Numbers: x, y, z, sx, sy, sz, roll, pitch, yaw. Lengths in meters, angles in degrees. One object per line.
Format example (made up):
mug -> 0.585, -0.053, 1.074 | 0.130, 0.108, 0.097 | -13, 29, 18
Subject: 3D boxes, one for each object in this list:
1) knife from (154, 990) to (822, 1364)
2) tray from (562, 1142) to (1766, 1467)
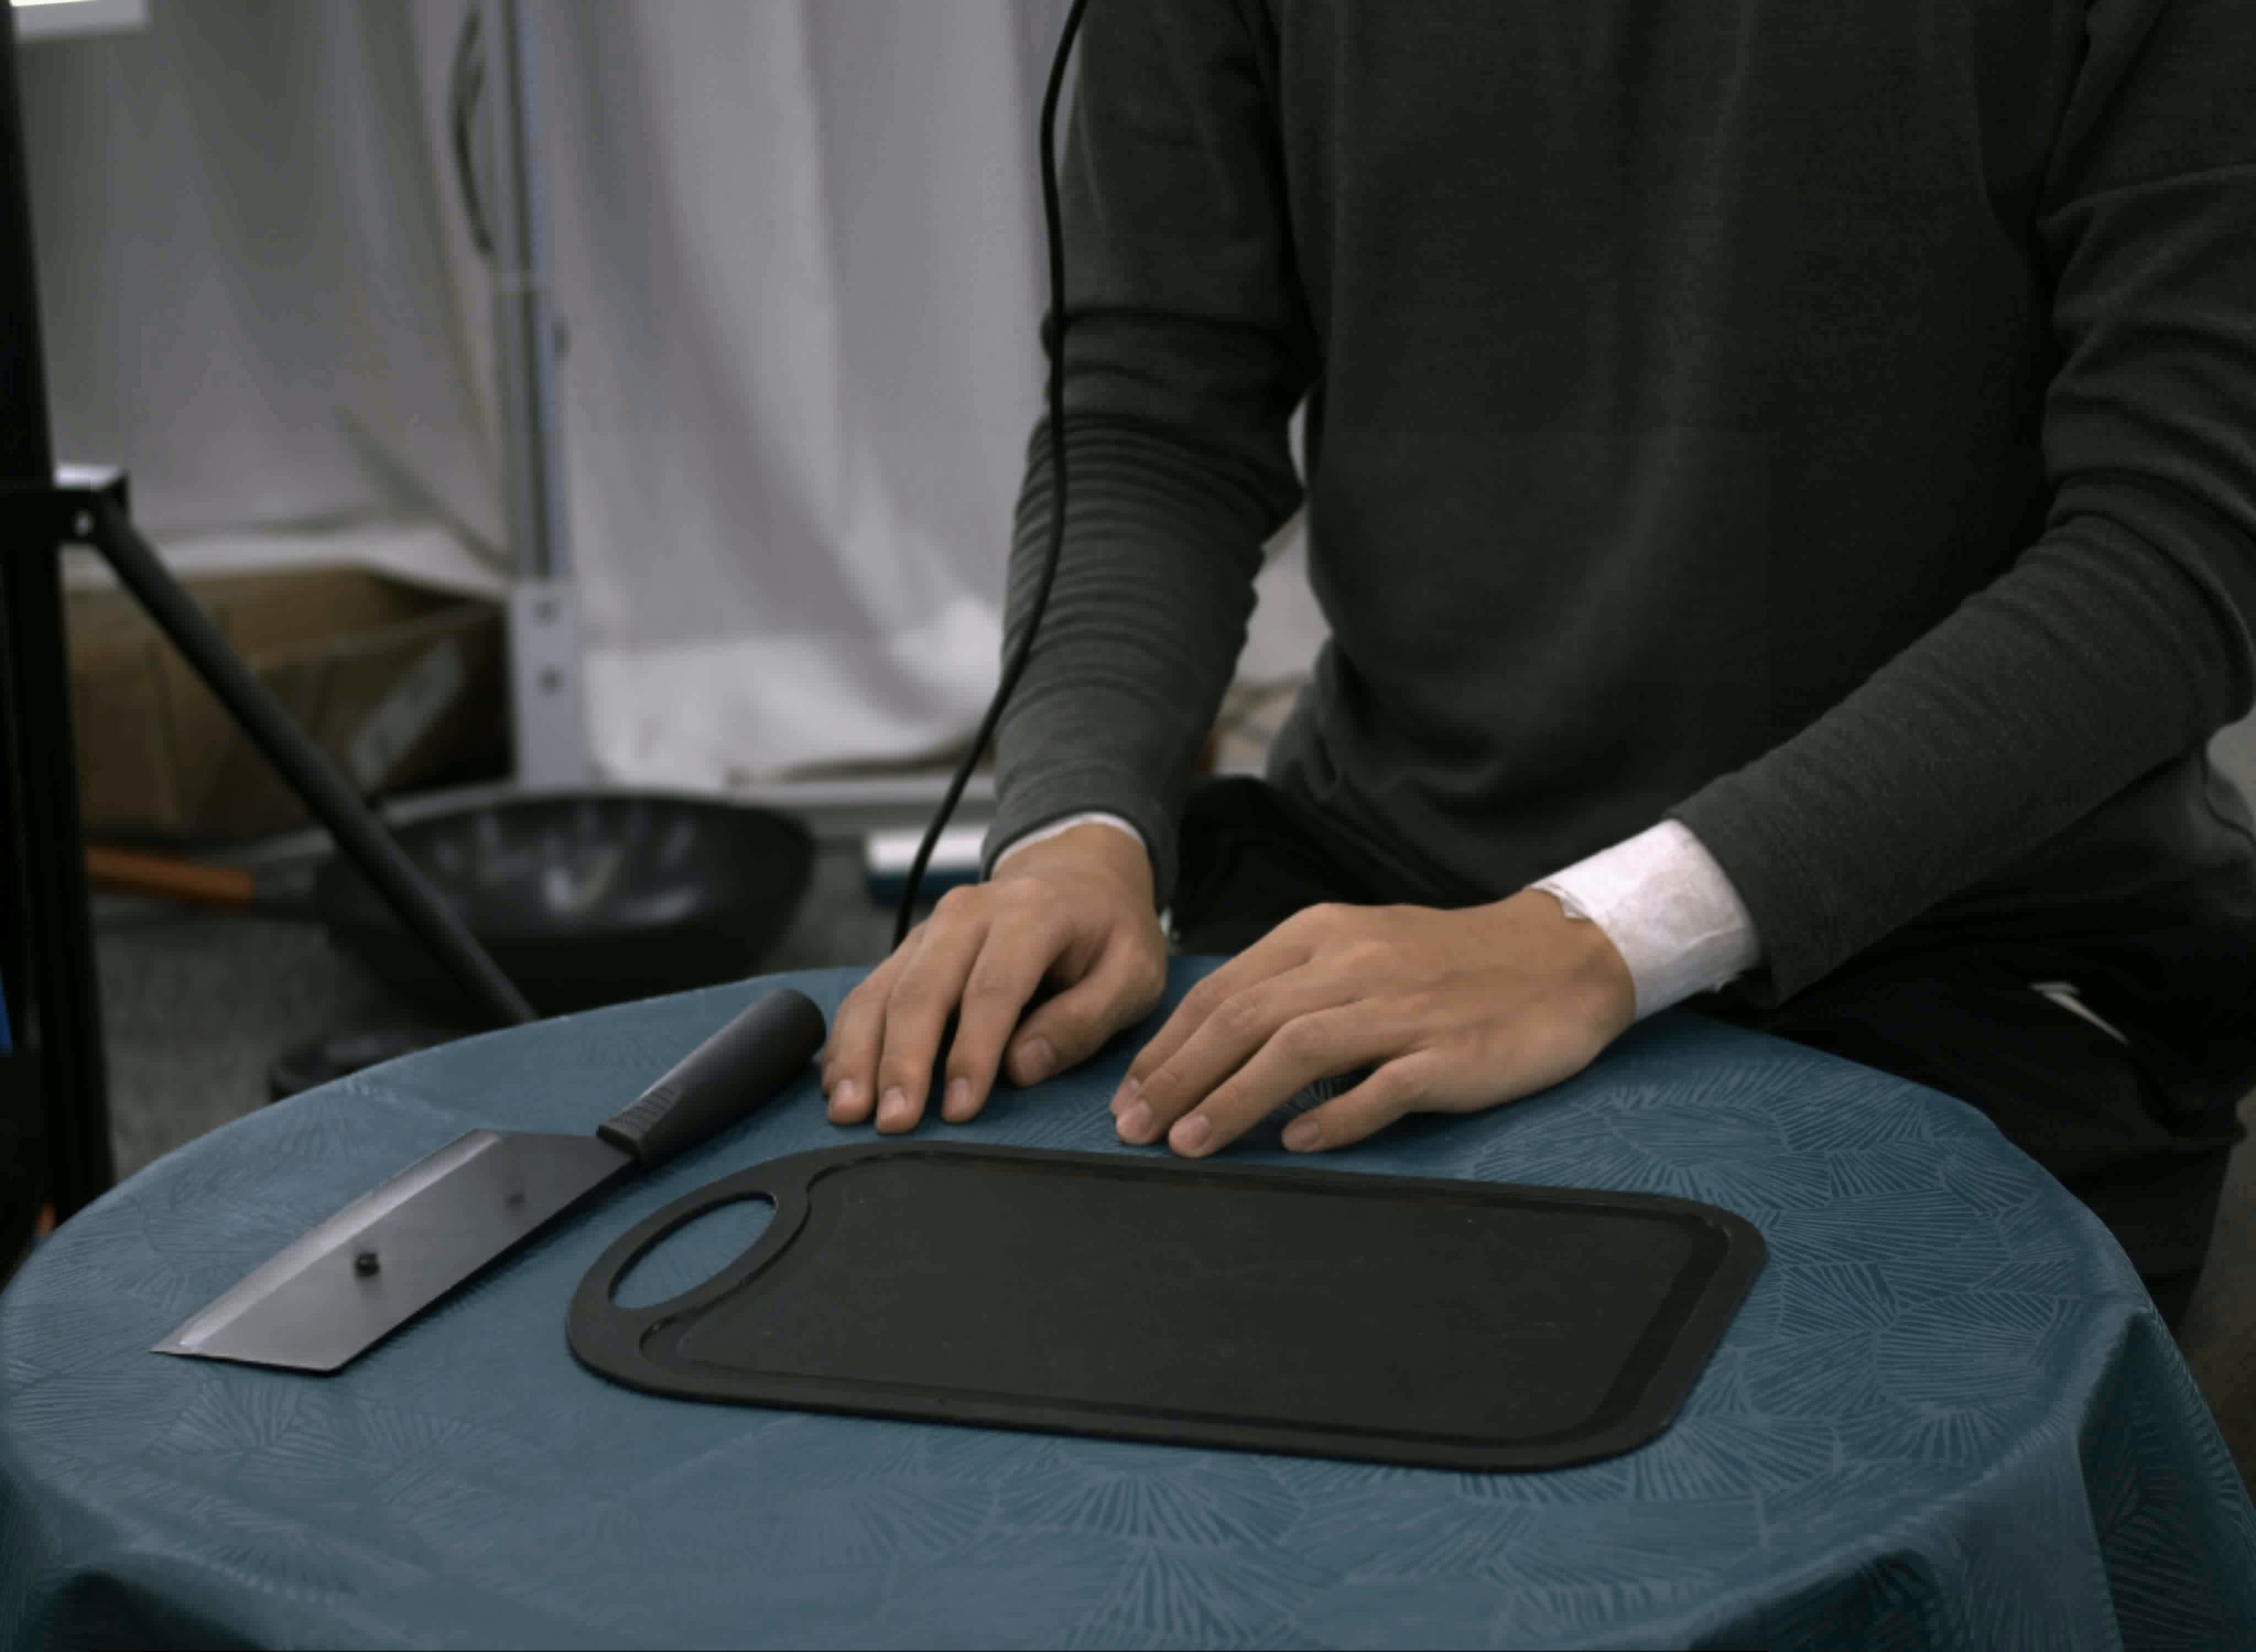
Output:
knife -> -0.179, 0.103, 1.584 | 0.082, 0.021, 0.297 | 5, 19, 29
tray -> 0.006, 0.129, 1.477 | 0.329, 0.010, 0.208 | 3, 16, 20
